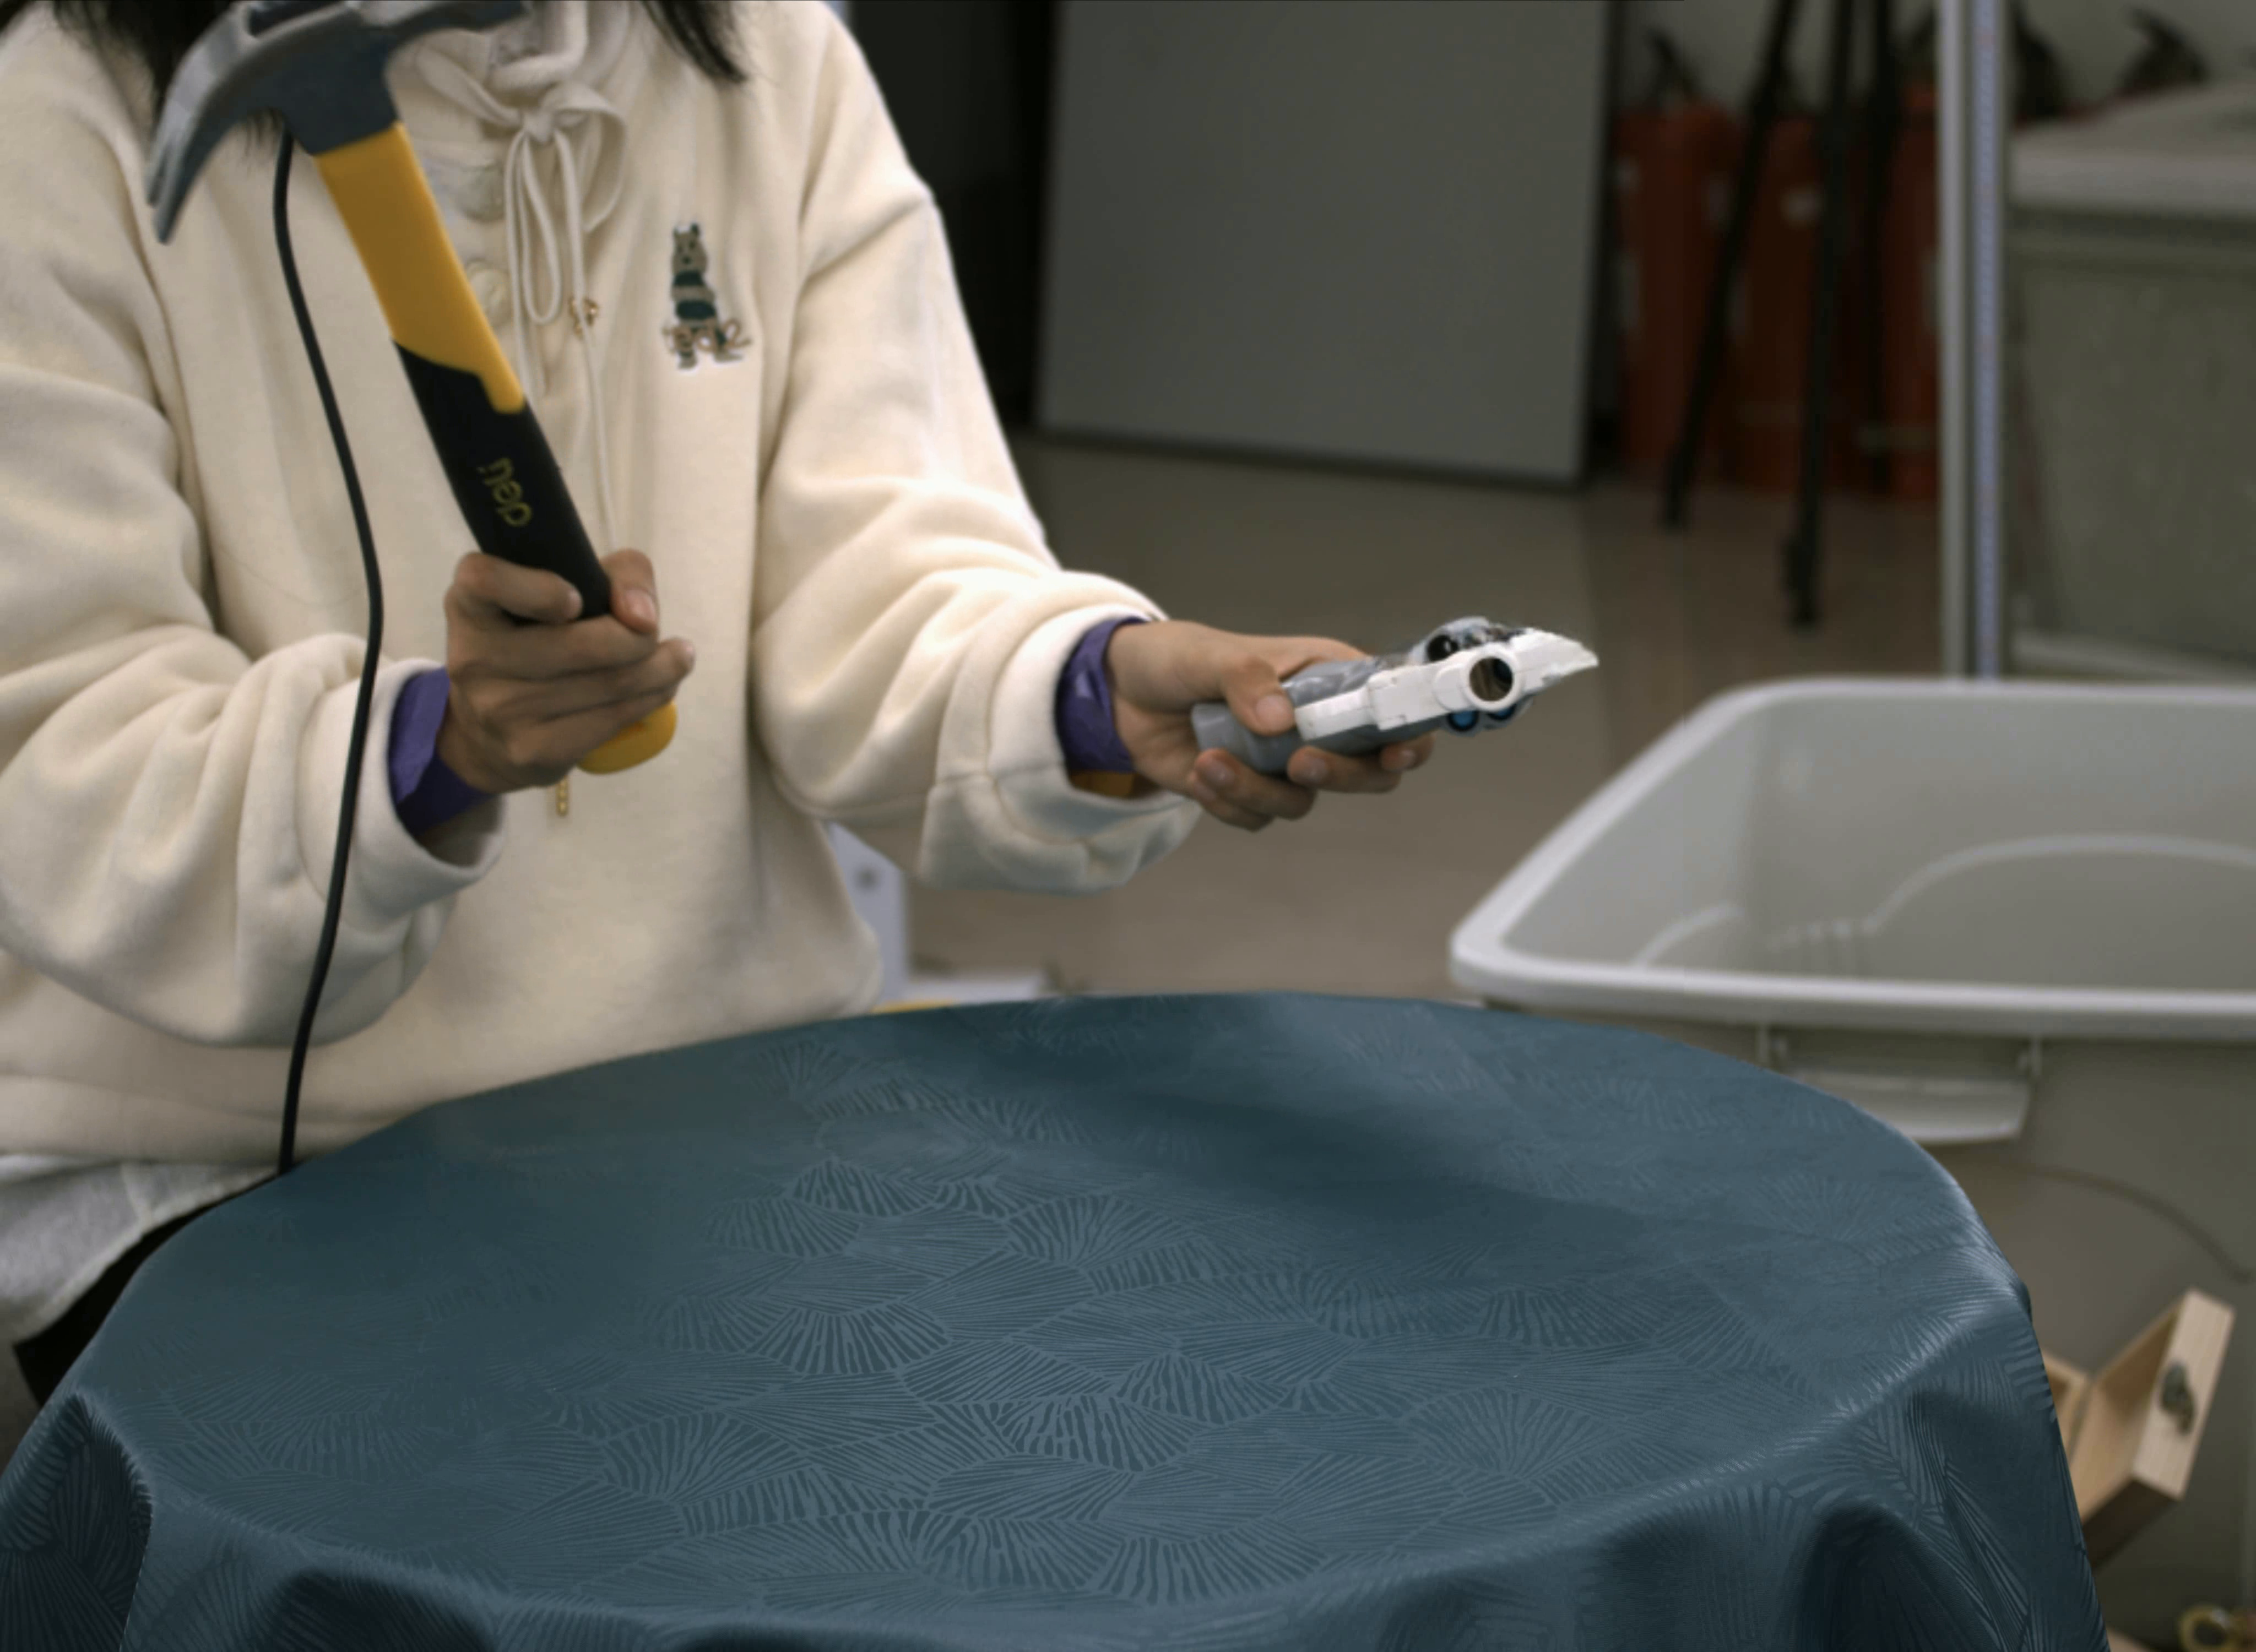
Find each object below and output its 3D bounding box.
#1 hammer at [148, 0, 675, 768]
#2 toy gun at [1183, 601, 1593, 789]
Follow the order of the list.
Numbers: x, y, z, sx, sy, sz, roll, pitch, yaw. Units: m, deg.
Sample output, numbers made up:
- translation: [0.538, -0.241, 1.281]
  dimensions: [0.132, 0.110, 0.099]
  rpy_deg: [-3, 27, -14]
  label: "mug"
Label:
- translation: [-0.207, -0.139, 1.718]
  dimensions: [0.130, 0.338, 0.032]
  rpy_deg: [-21, 47, -2]
  label: "hammer"
- translation: [0.080, -0.044, 1.746]
  dimensions: [0.140, 0.039, 0.208]
  rpy_deg: [-15, 1, 8]
  label: "toy gun"
